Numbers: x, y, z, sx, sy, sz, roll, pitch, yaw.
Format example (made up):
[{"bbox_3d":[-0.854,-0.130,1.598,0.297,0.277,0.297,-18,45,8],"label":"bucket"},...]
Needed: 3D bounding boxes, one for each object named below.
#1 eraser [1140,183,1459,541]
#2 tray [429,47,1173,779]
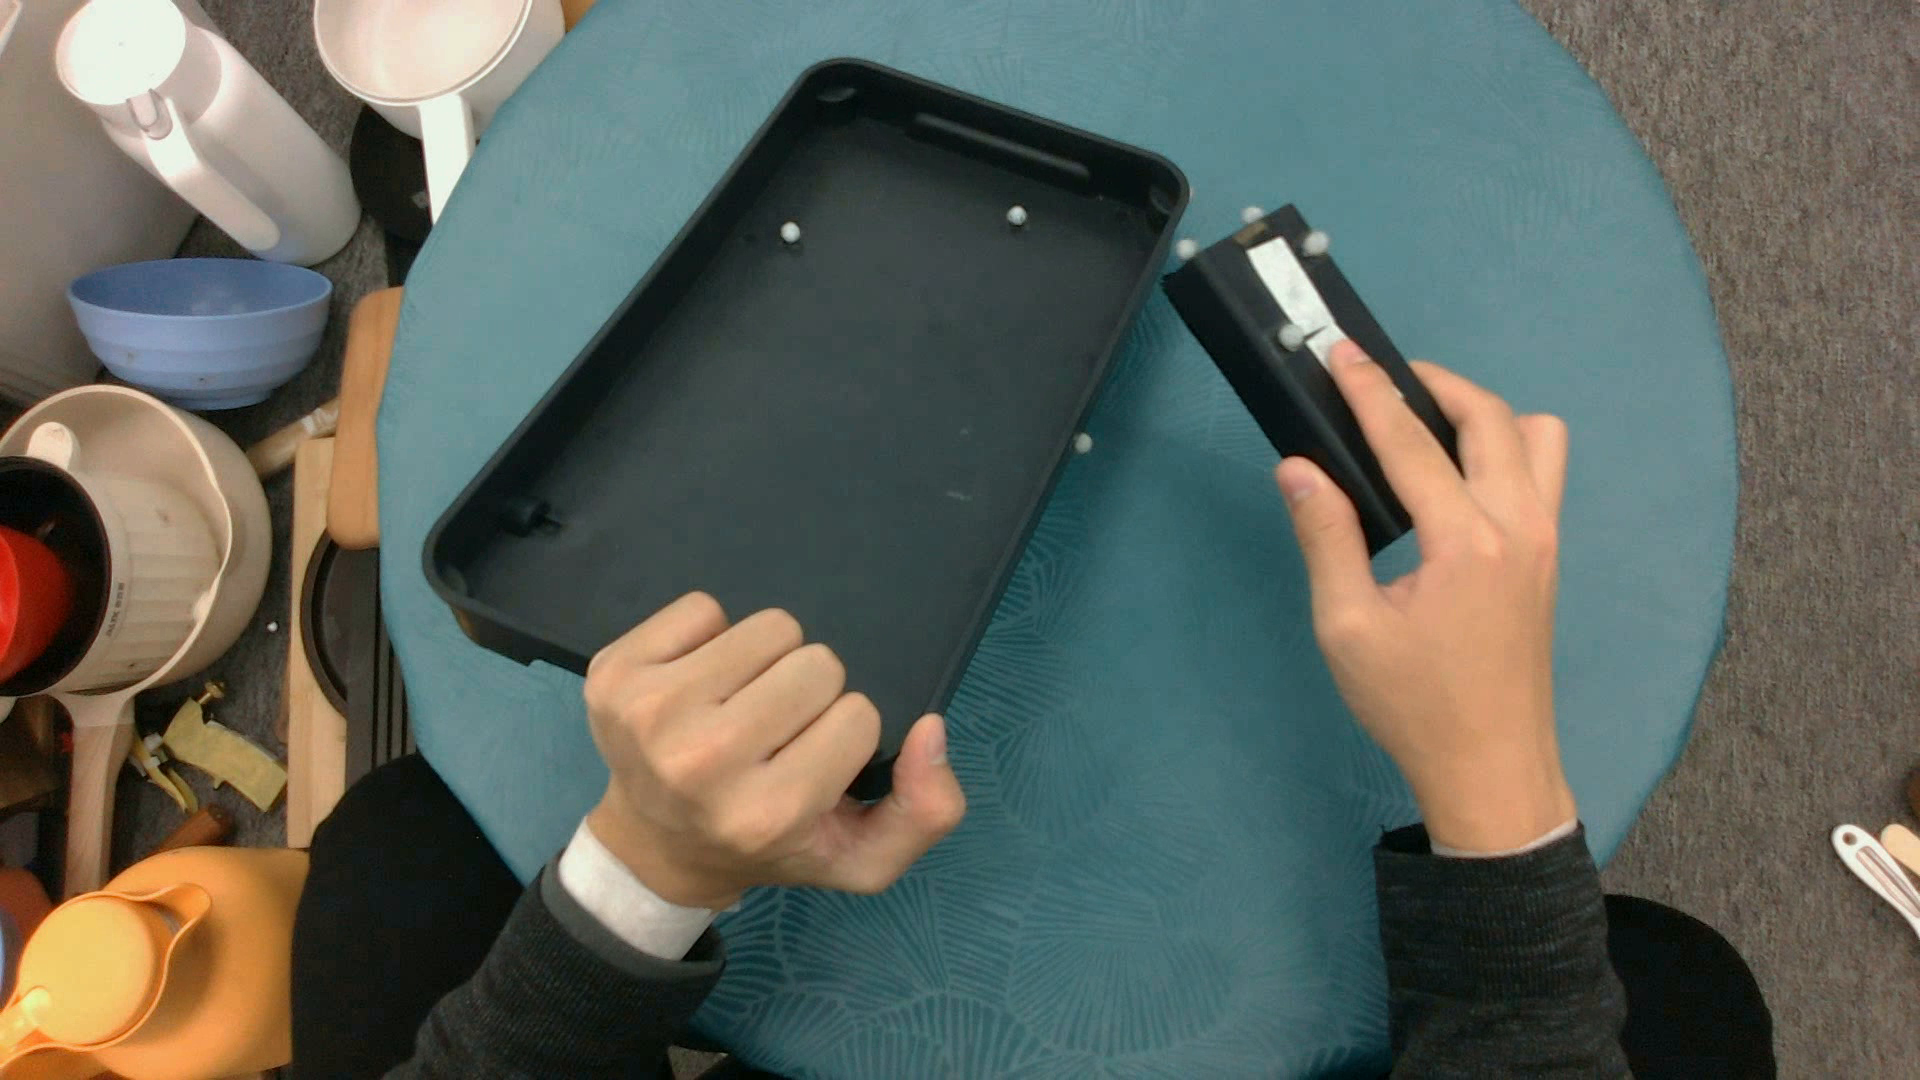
[{"bbox_3d":[0.121,-0.064,0.496,0.054,0.030,0.125,-34,85,-23],"label":"eraser"},{"bbox_3d":[-0.043,-0.071,0.541,0.184,0.037,0.319,20,56,8],"label":"tray"}]
